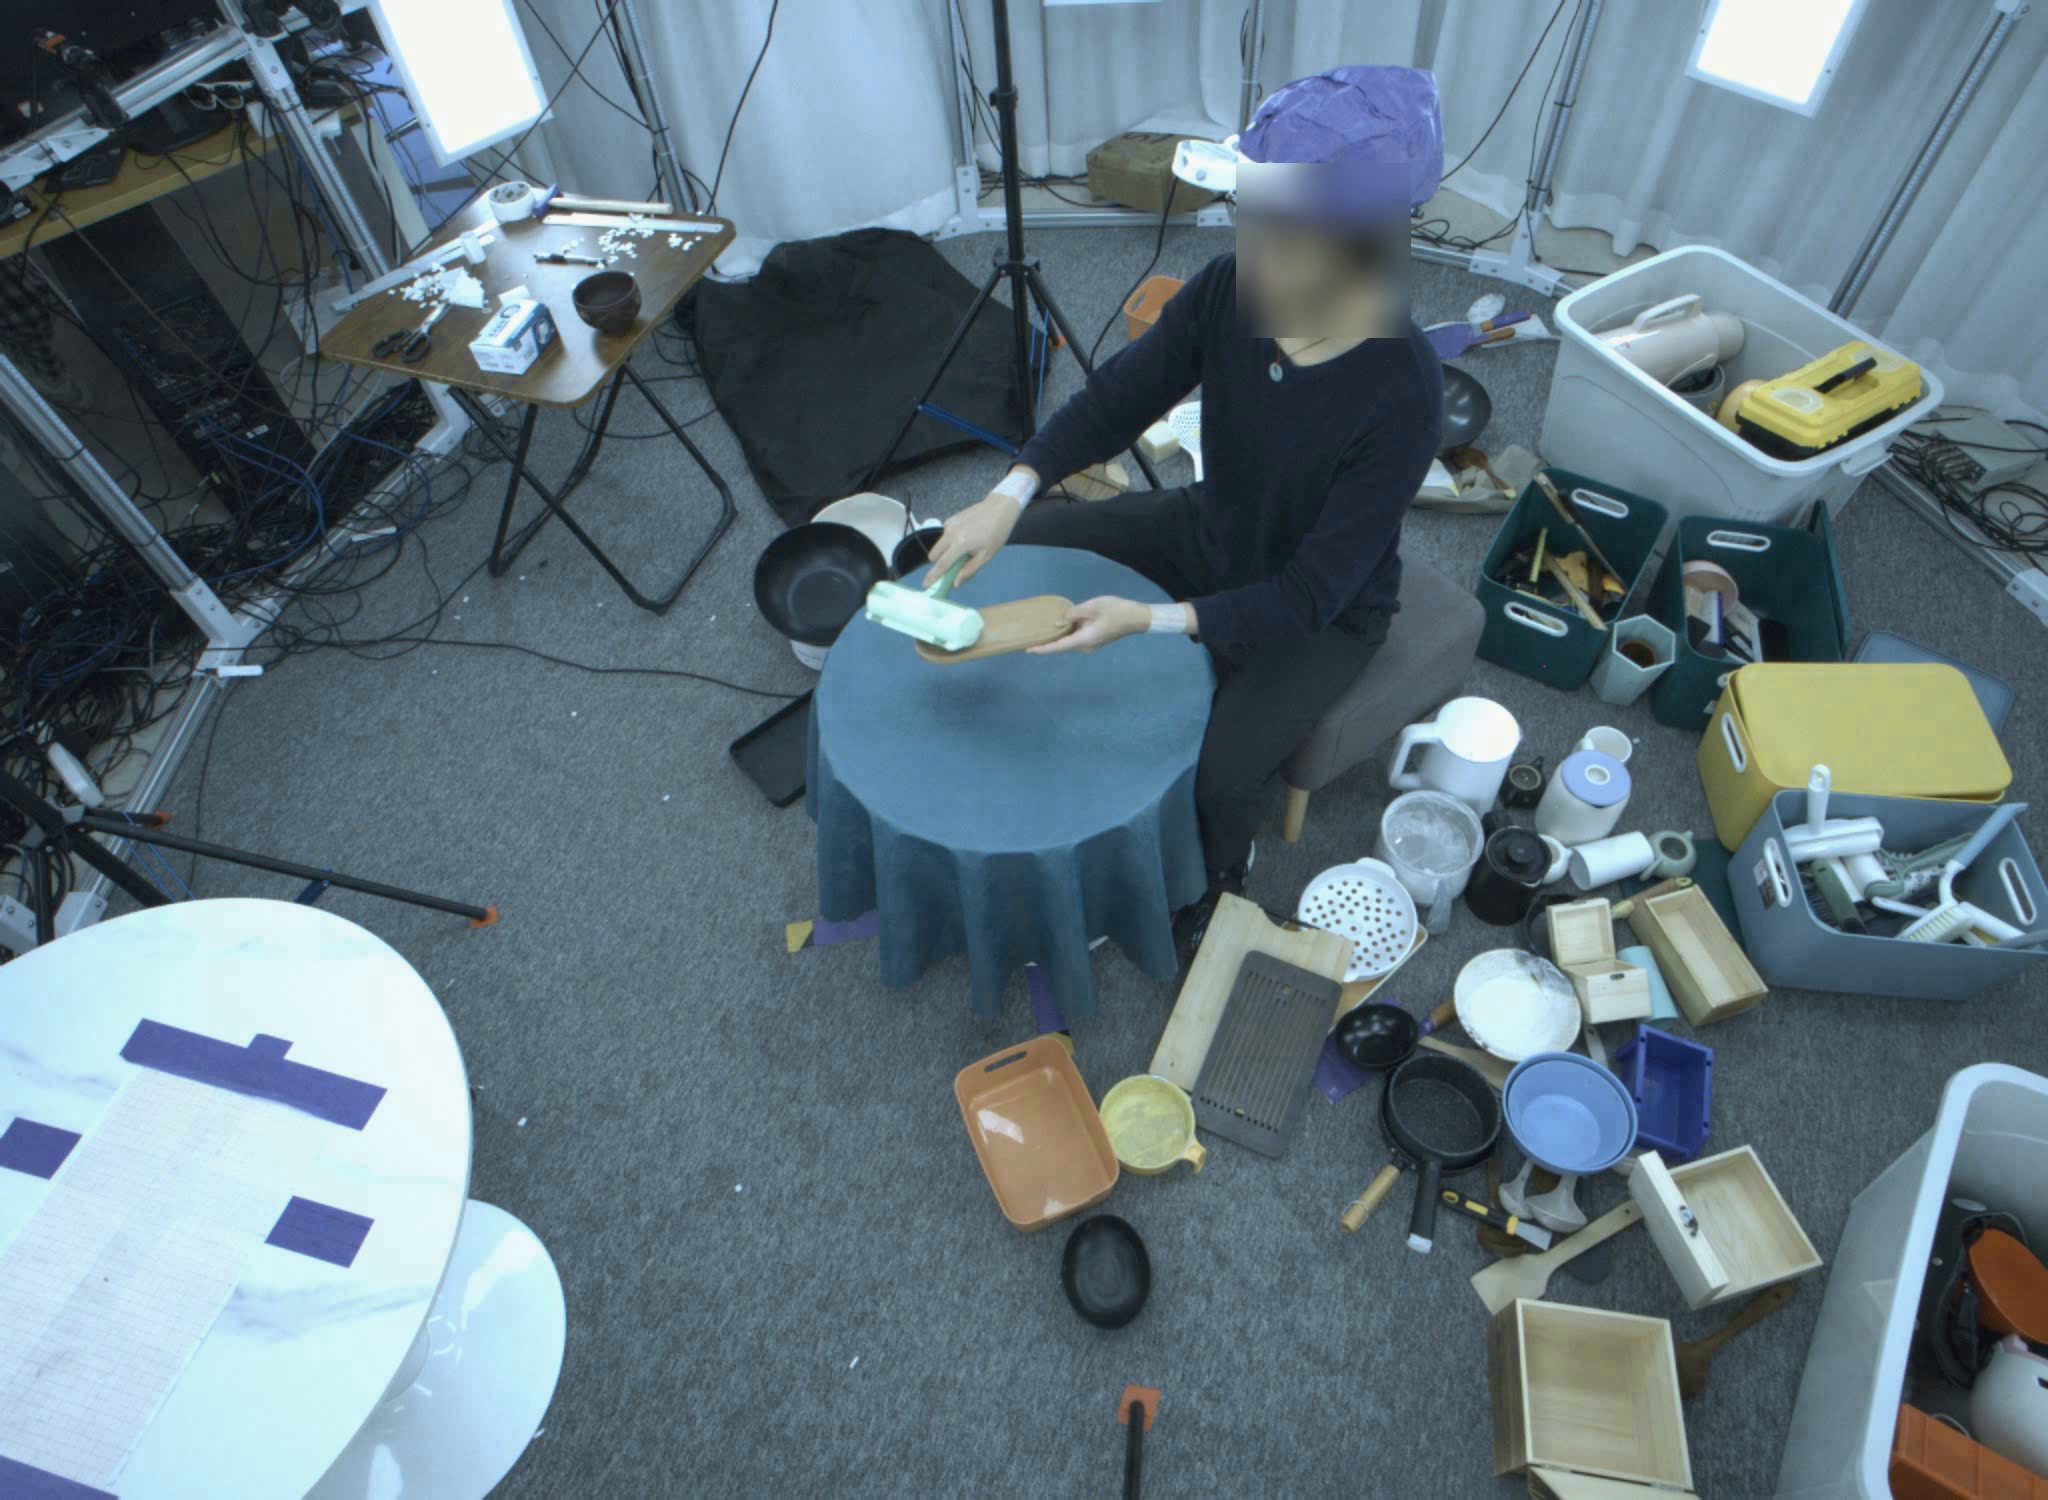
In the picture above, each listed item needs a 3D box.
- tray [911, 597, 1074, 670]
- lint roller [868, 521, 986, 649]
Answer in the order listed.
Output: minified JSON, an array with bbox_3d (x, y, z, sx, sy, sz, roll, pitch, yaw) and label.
[{"bbox_3d":[-0.044,-0.161,1.703,0.231,0.020,0.100,-13,42,2],"label":"tray"},{"bbox_3d":[-0.124,-0.245,1.703,0.194,0.084,0.183,22,91,38],"label":"lint roller"}]
